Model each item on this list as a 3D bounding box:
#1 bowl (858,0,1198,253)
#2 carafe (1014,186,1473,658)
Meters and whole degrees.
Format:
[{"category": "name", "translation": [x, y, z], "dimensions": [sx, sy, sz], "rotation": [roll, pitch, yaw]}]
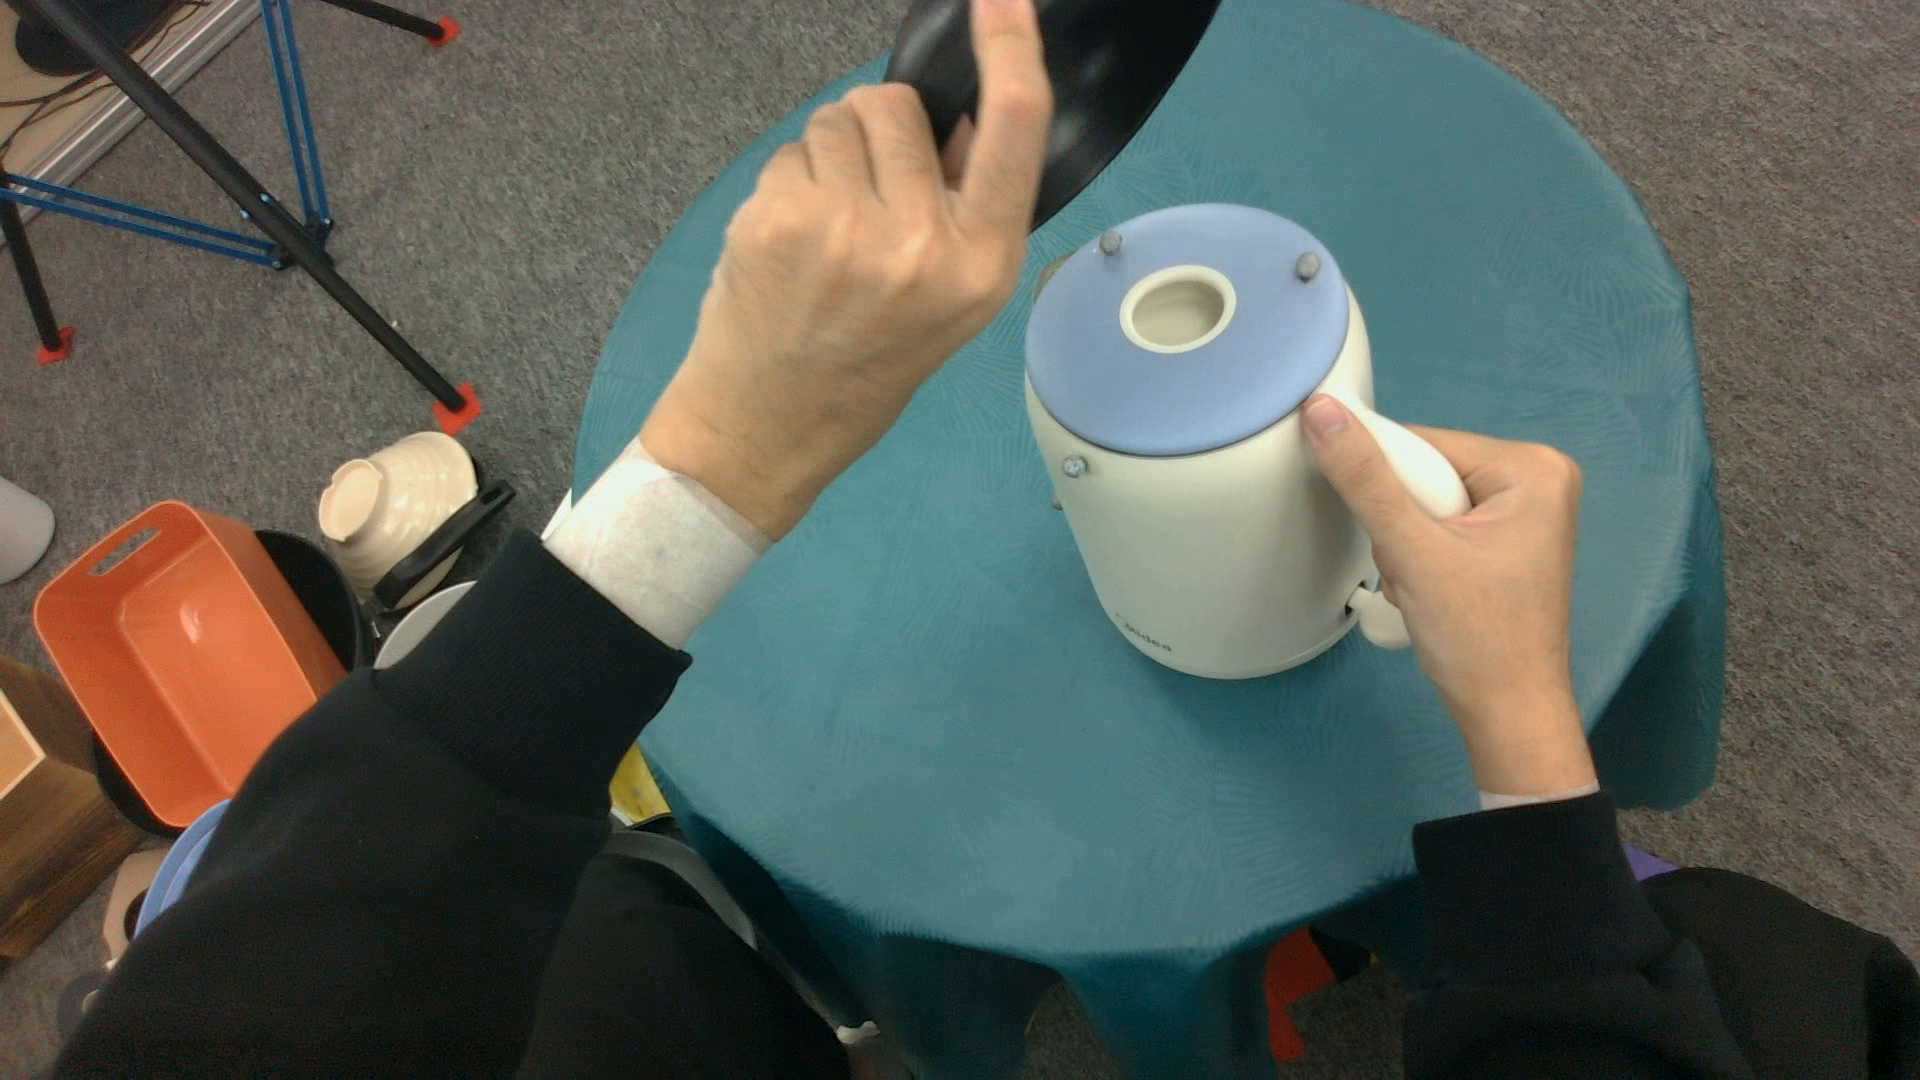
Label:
[{"category": "bowl", "translation": [0.015, -0.160, 0.441], "dimensions": [0.140, 0.139, 0.050], "rotation": [-41, 79, -9]}, {"category": "carafe", "translation": [0.118, -0.033, 0.560], "dimensions": [0.191, 0.182, 0.132], "rotation": [30, 72, 29]}]
